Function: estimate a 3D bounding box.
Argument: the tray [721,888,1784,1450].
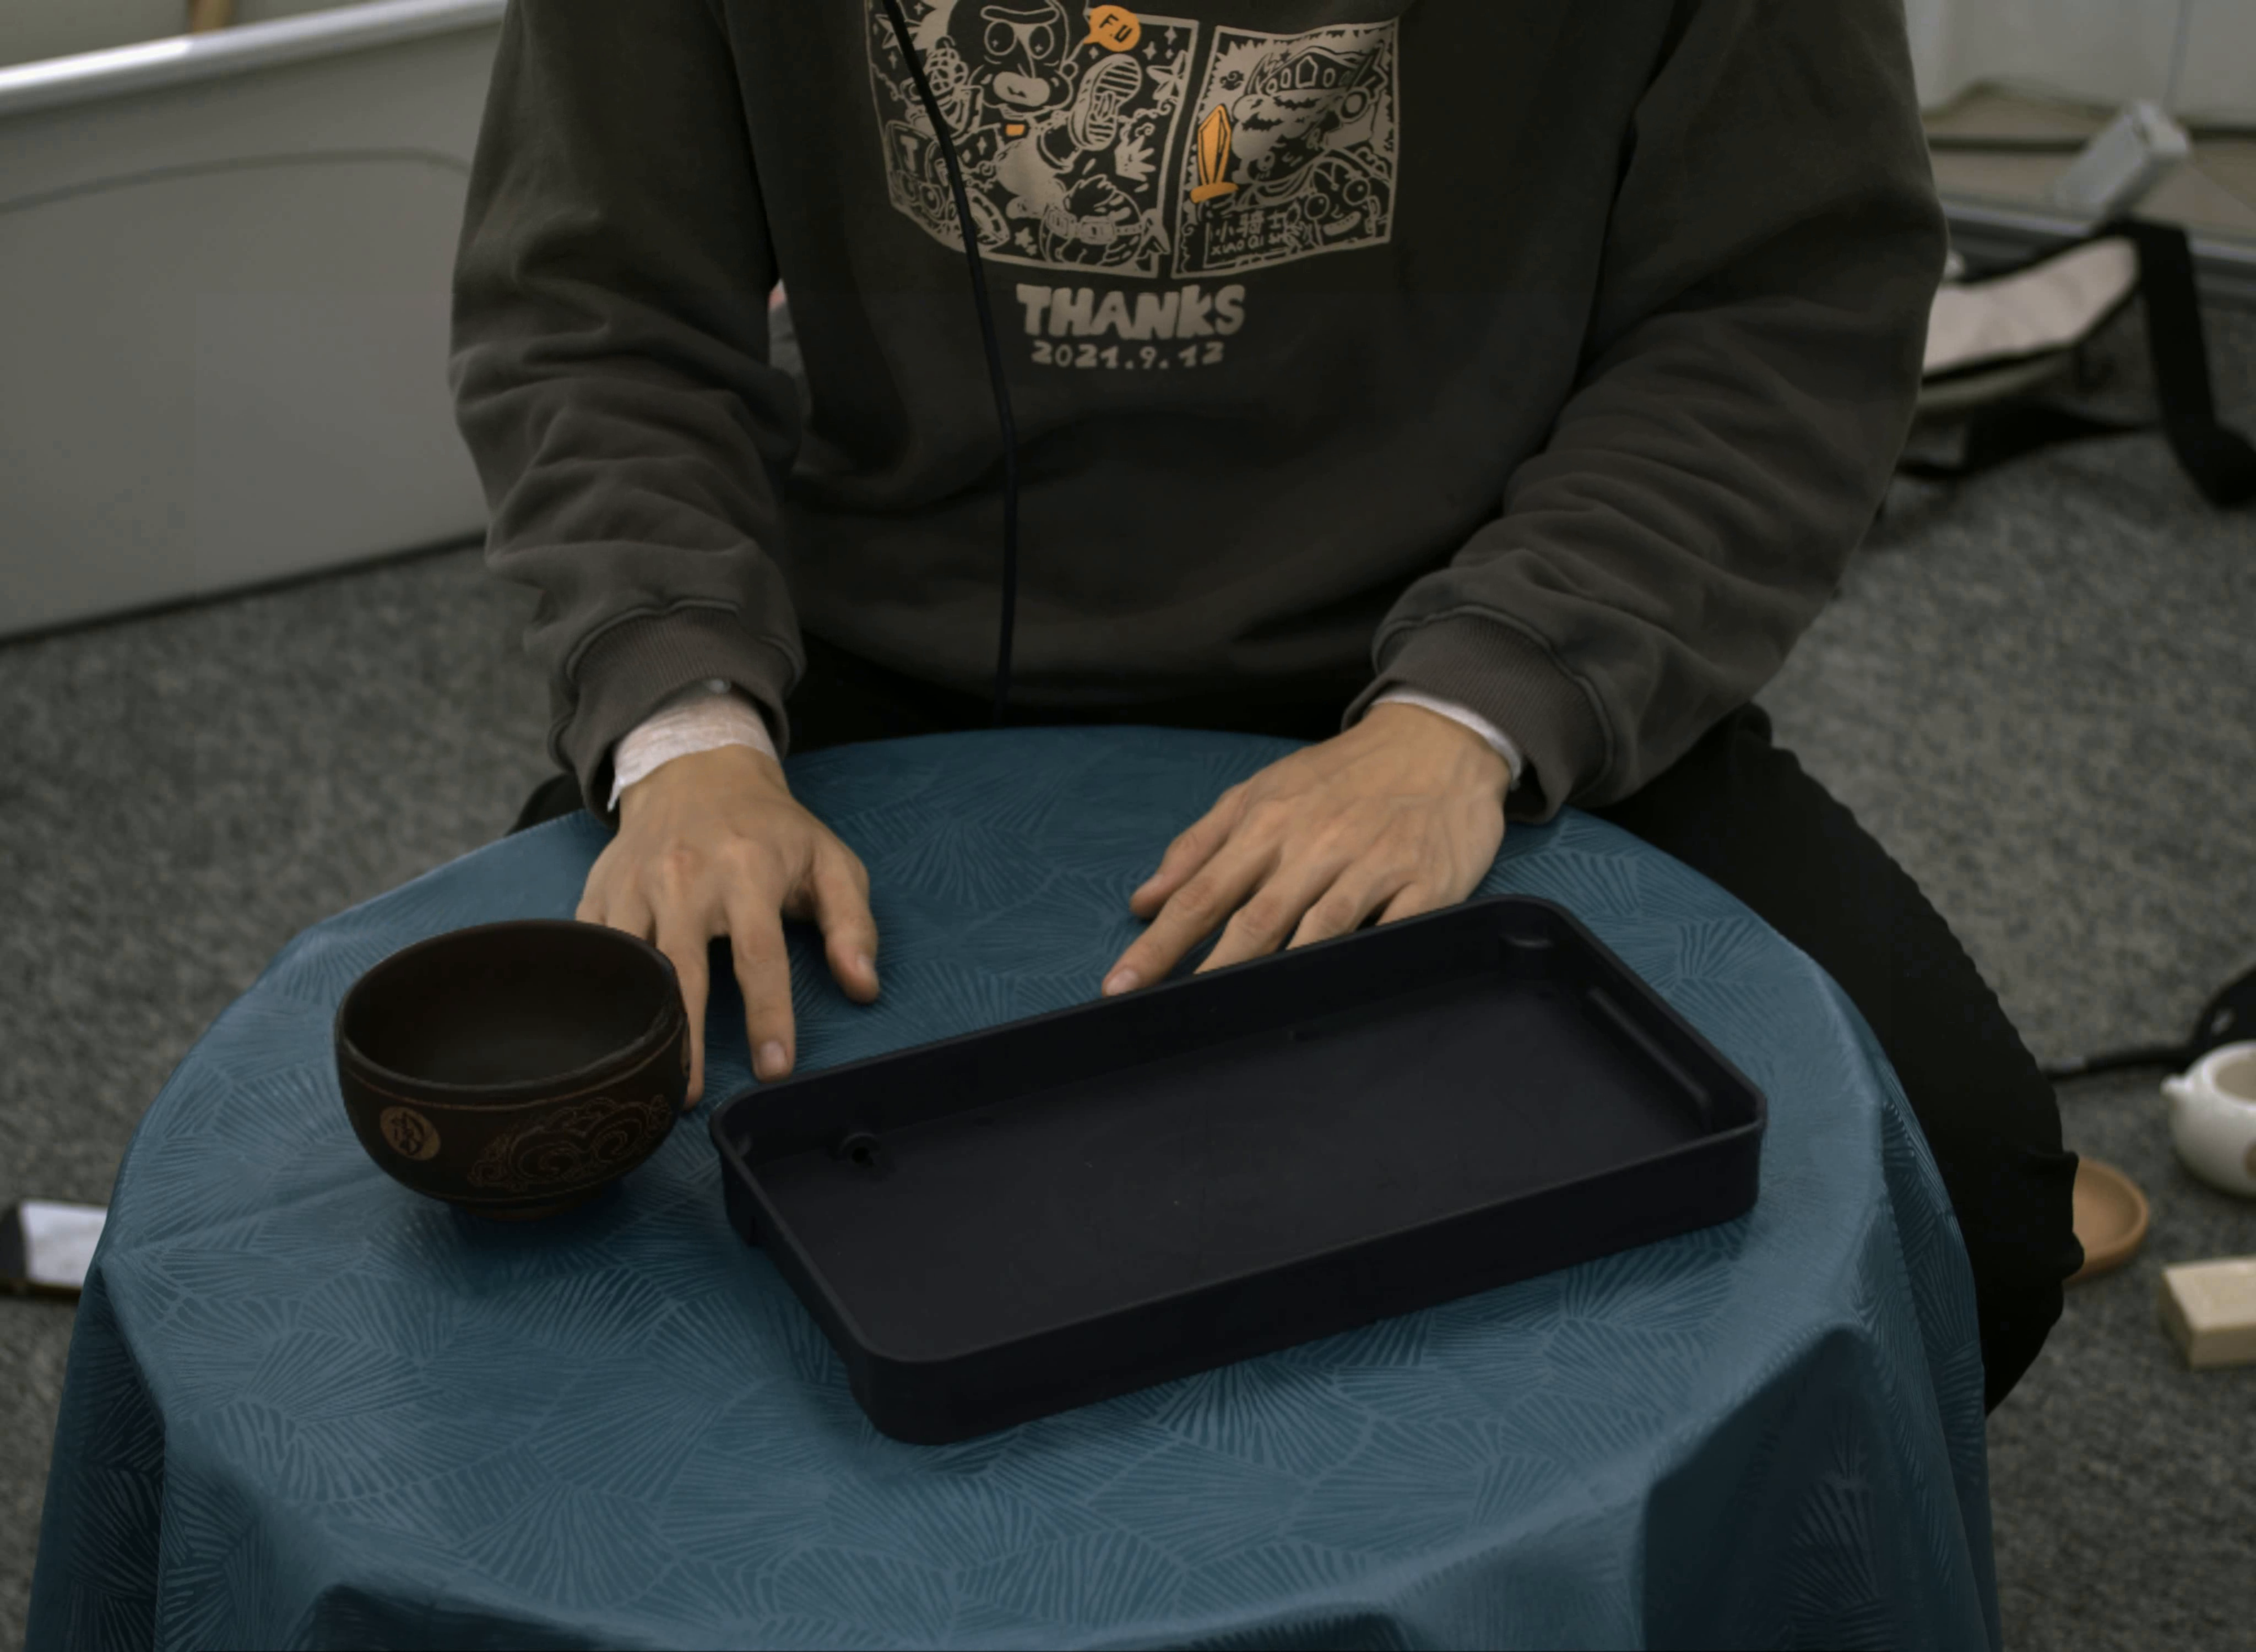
[{"bbox_3d":[0.041,0.108,1.846,0.319,0.036,0.185,-15,29,-21],"label":"tray"}]

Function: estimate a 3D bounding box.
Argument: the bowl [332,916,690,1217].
[{"bbox_3d":[-0.203,0.087,1.870,0.117,0.069,0.120,-2,26,1],"label":"bowl"}]
